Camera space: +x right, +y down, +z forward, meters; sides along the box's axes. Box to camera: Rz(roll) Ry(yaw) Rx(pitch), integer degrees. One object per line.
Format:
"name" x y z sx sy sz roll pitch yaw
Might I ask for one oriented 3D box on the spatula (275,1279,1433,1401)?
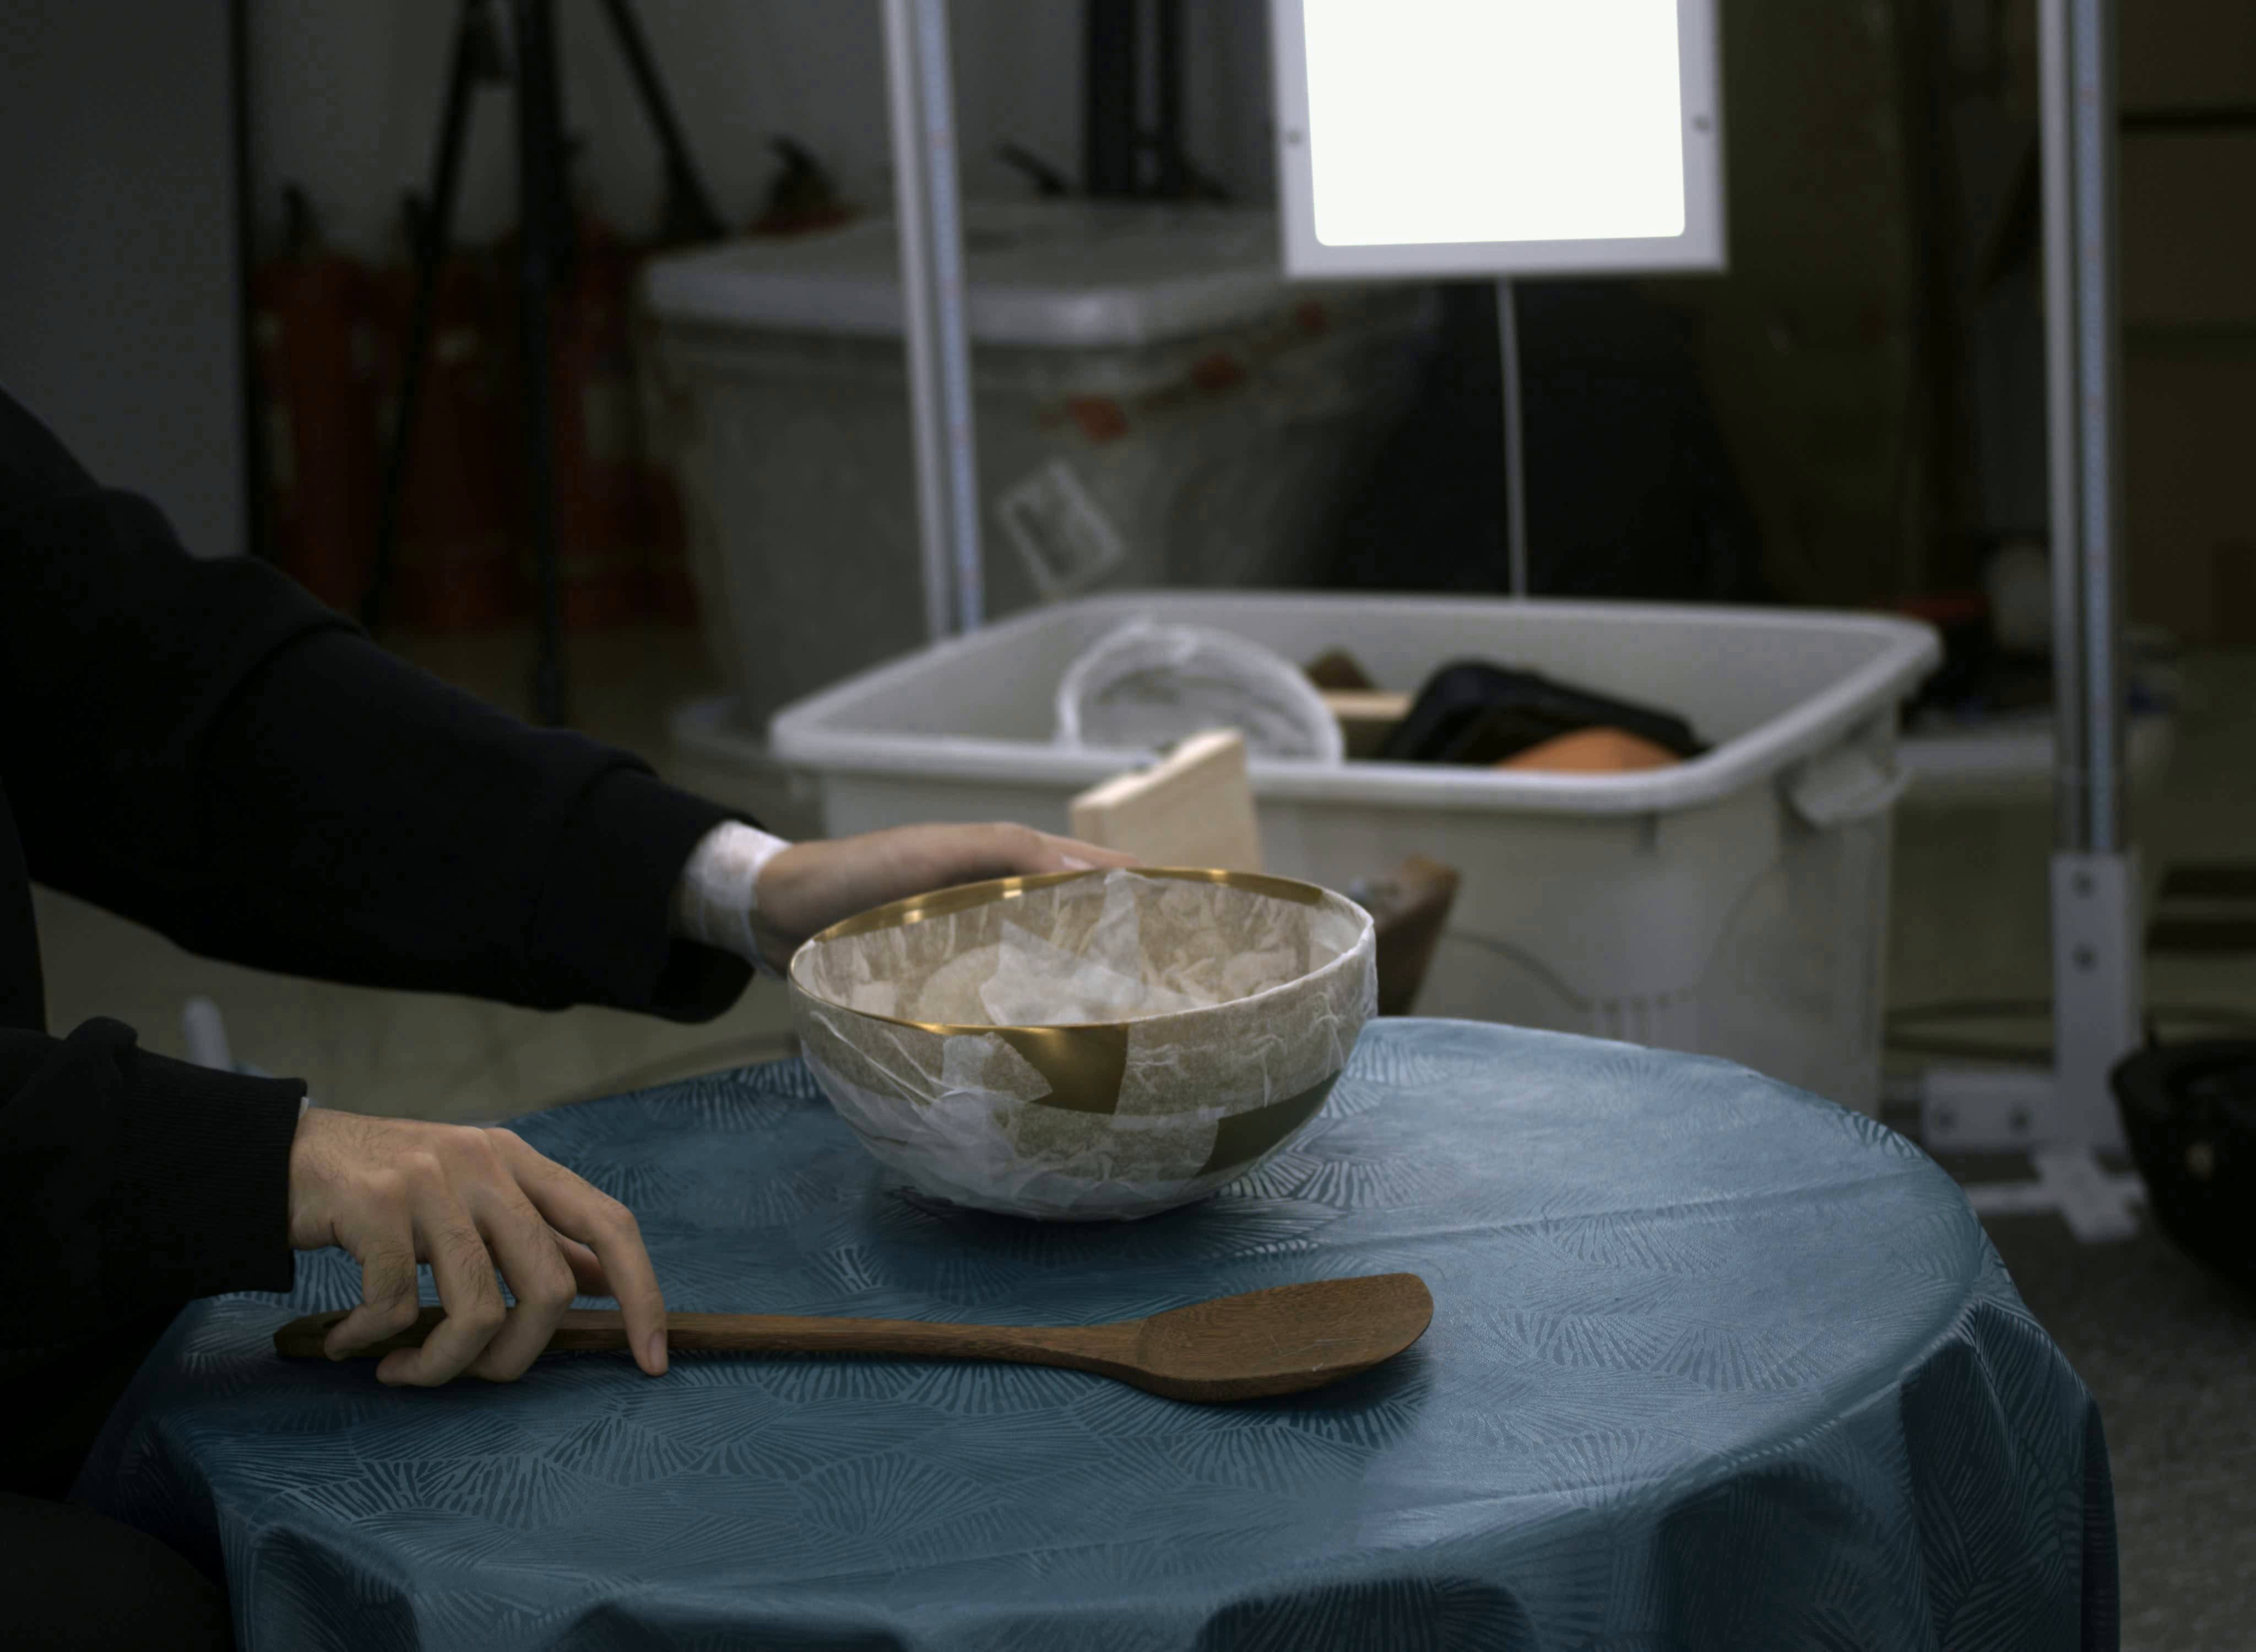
"spatula" -0.093 0.162 1.756 0.390 0.016 0.094 -1 14 17

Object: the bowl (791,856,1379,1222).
"bowl" -0.014 0.080 1.891 0.214 0.095 0.214 -6 15 0
